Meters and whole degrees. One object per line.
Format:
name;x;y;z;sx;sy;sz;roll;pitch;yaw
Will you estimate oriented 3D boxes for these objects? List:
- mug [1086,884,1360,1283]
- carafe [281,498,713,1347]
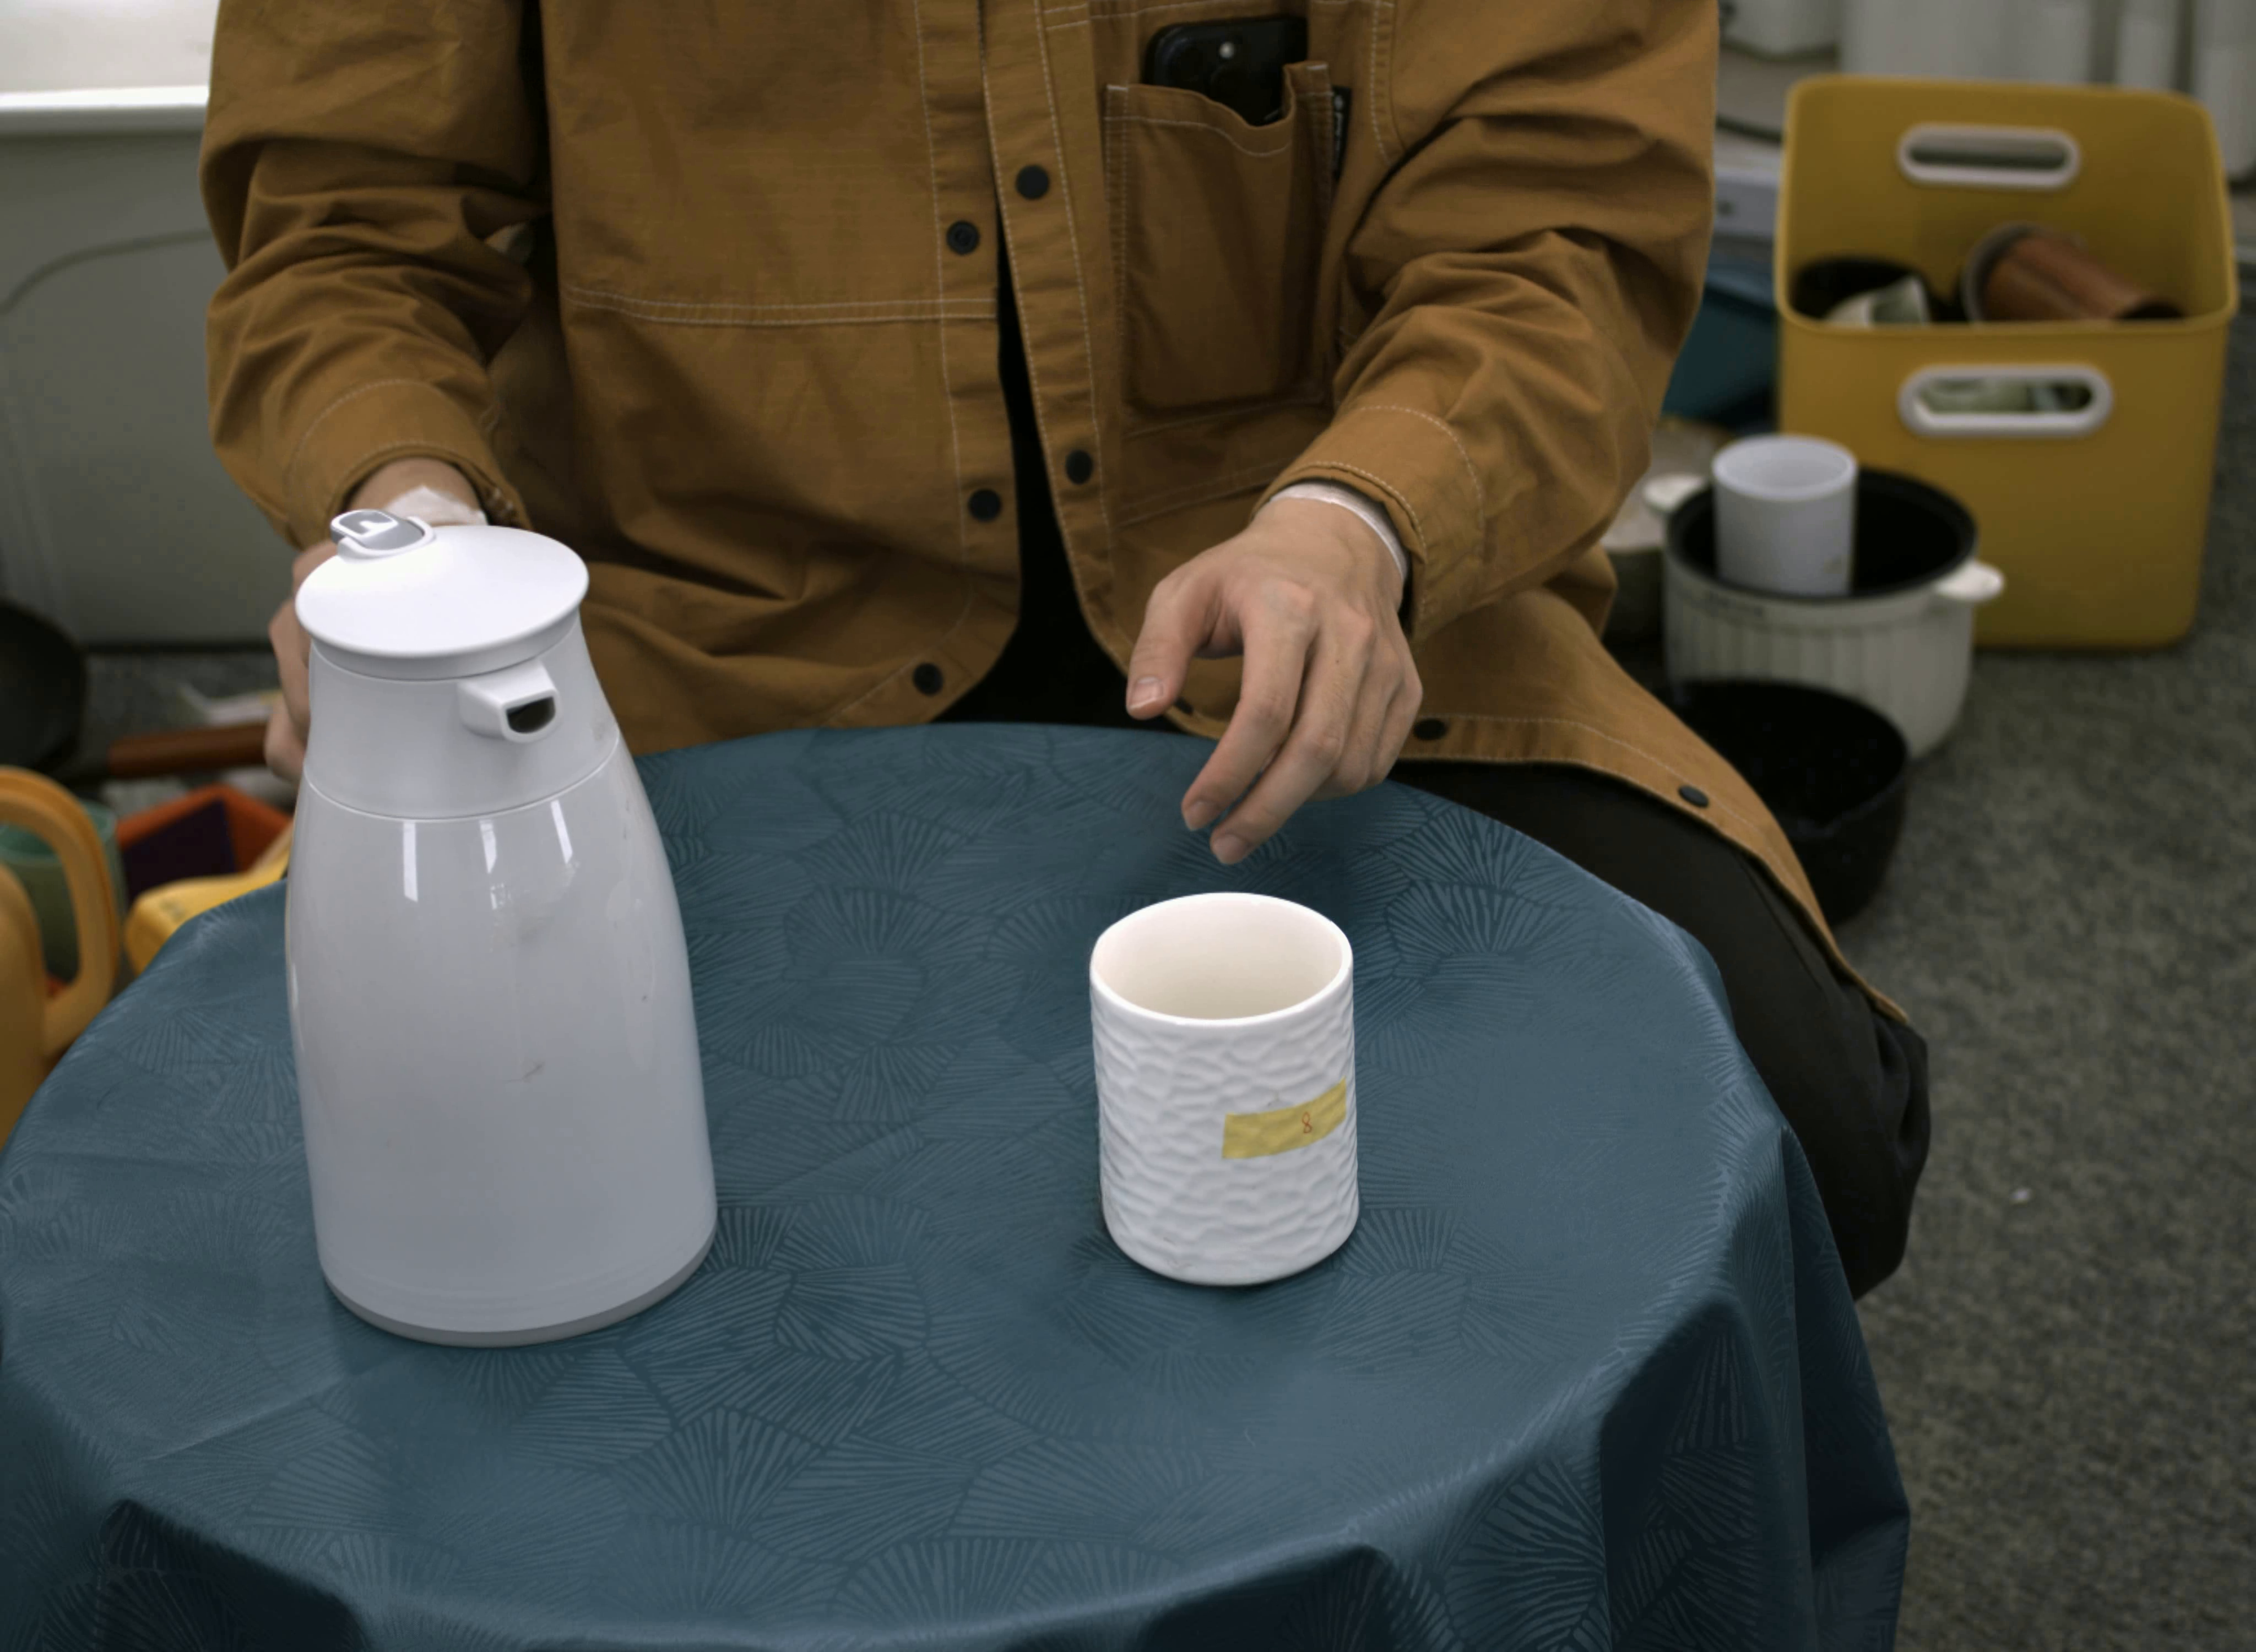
mug;0.028;0.077;1.828;0.085;0.101;0.120;-8;29;-8
carafe;-0.219;0.021;1.809;0.133;0.246;0.168;-19;30;-27
